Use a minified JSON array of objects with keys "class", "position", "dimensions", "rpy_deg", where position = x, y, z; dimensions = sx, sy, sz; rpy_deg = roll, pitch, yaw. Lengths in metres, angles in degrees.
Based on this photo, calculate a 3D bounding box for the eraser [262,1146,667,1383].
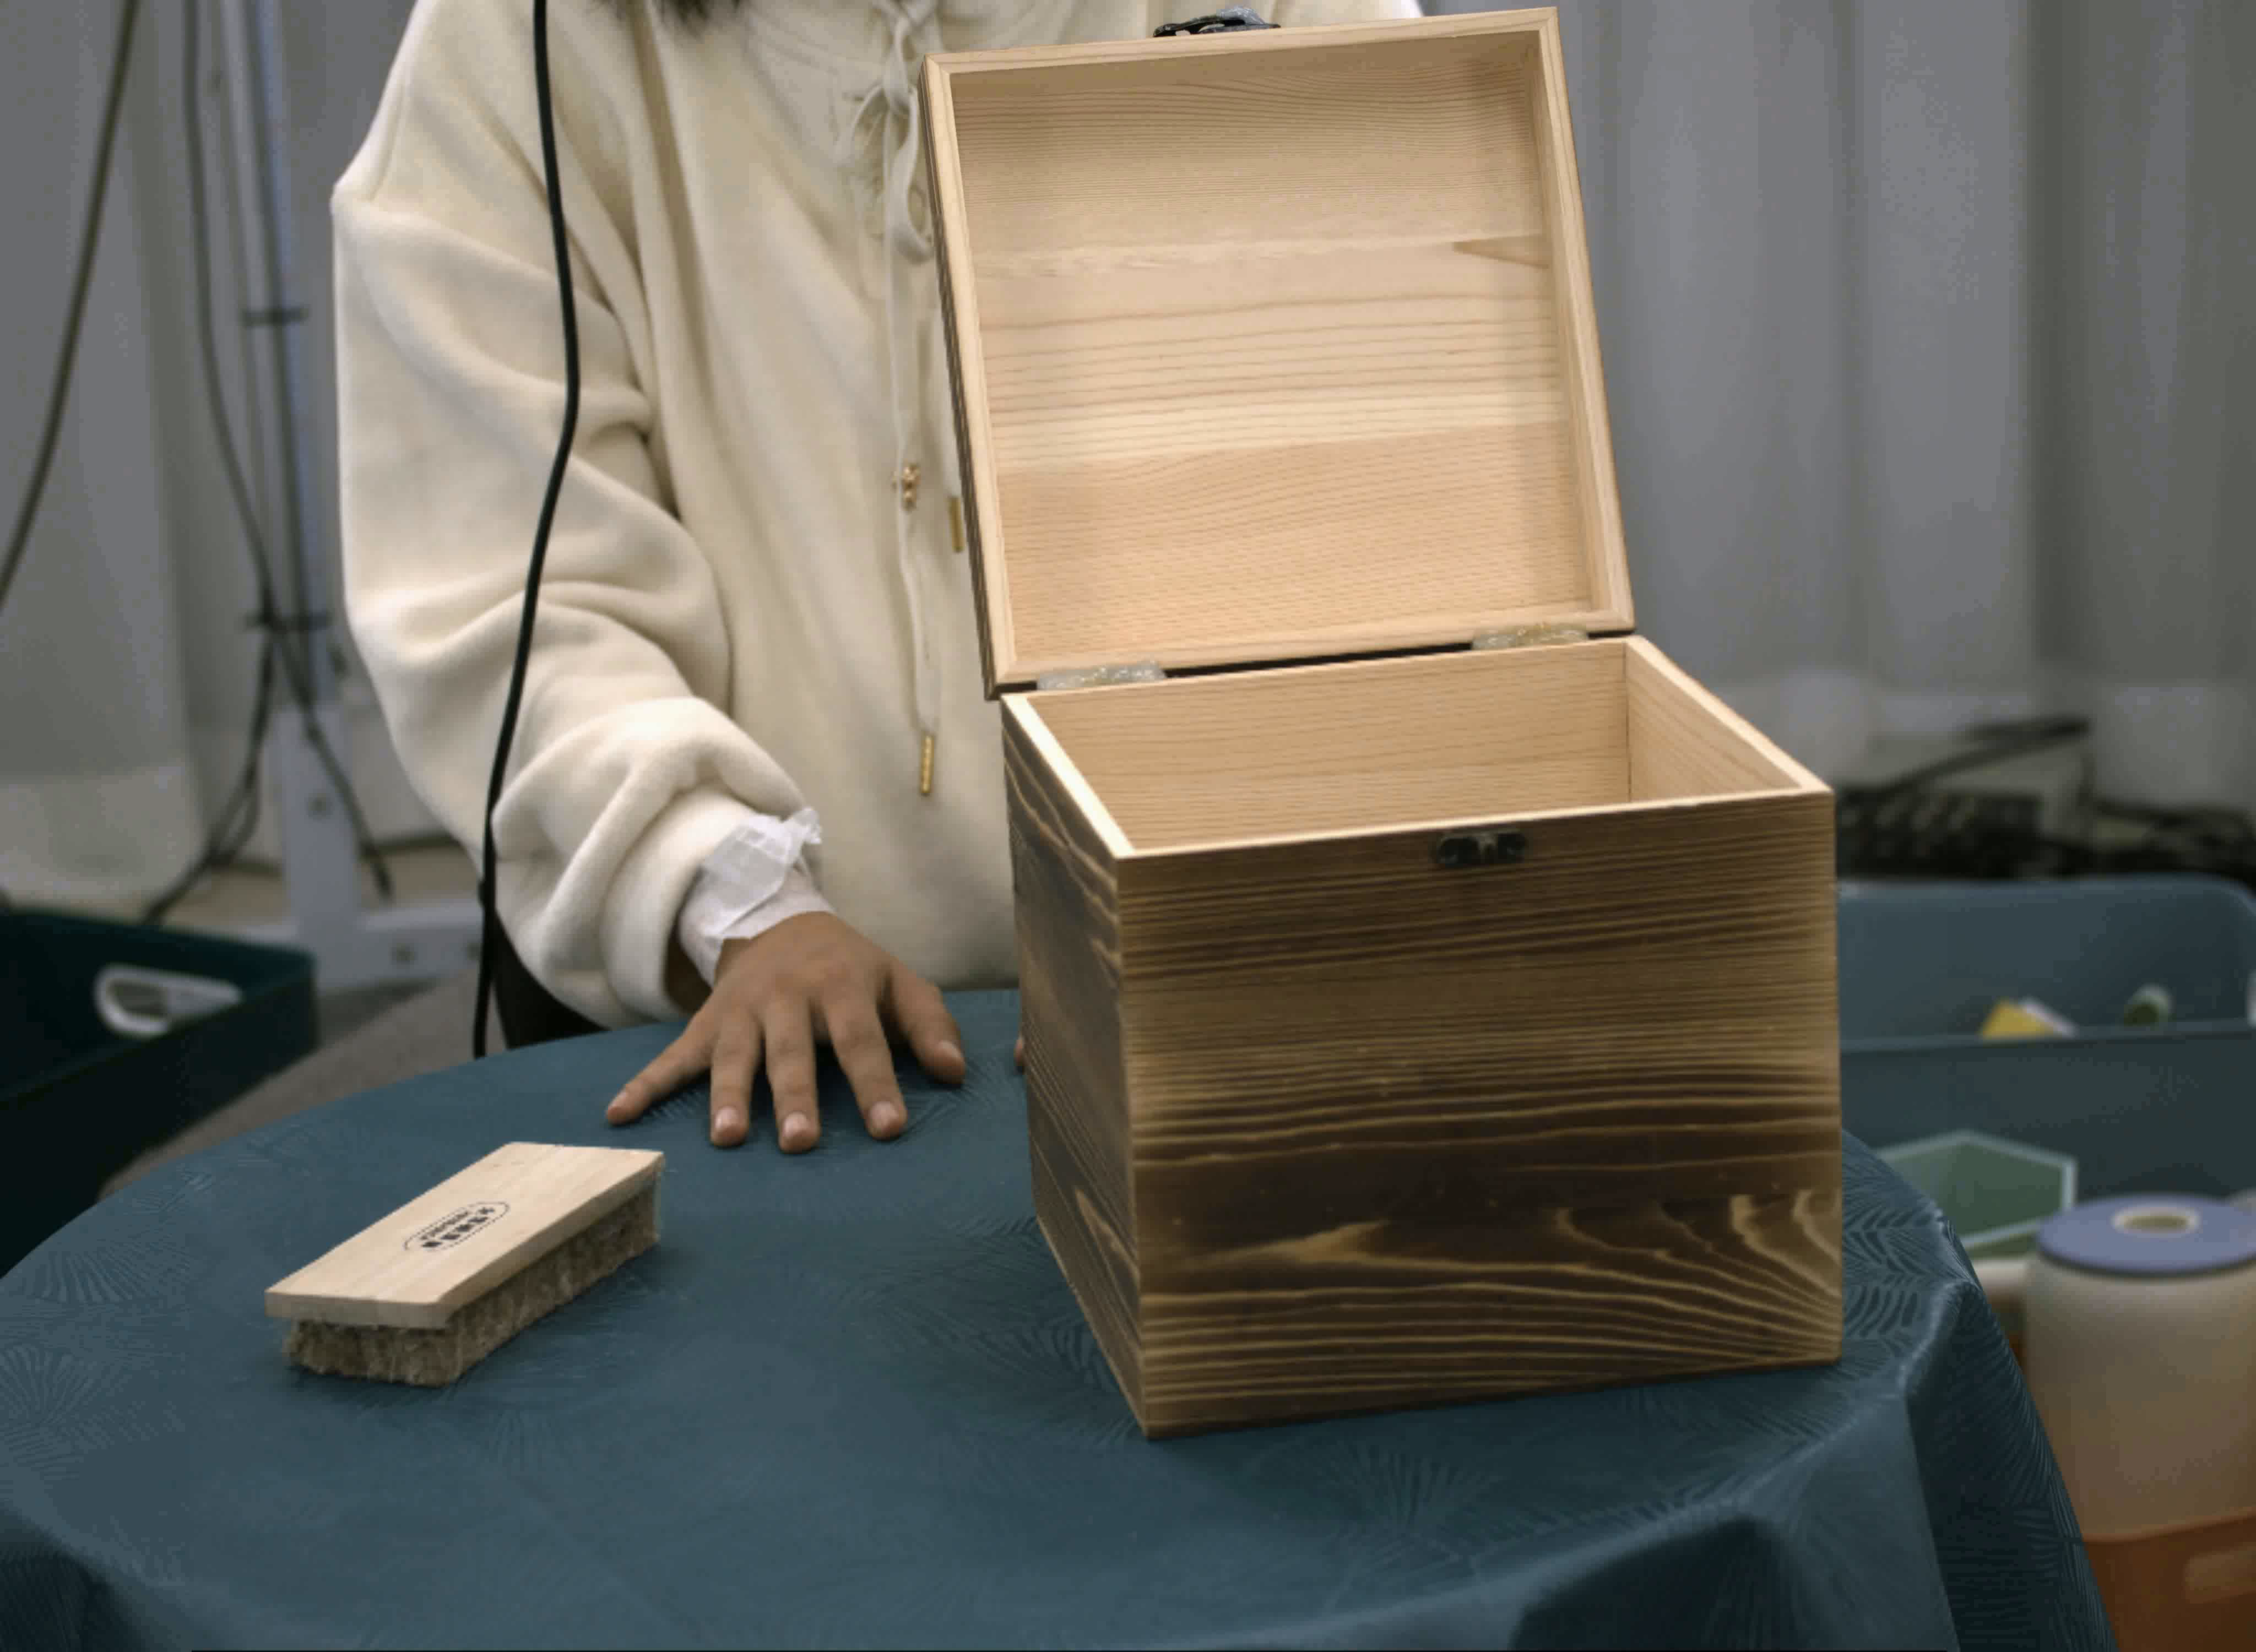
[{"class":"eraser","position":[-0.196,0.130,1.639],"dimensions":[0.057,0.029,0.139],"rpy_deg":[2,15,26]}]

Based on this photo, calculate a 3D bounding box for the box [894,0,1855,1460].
[{"class":"box","position":[0.065,-0.051,1.621],"dimensions":[0.208,0.374,0.324],"rpy_deg":[-6,15,-9]}]
